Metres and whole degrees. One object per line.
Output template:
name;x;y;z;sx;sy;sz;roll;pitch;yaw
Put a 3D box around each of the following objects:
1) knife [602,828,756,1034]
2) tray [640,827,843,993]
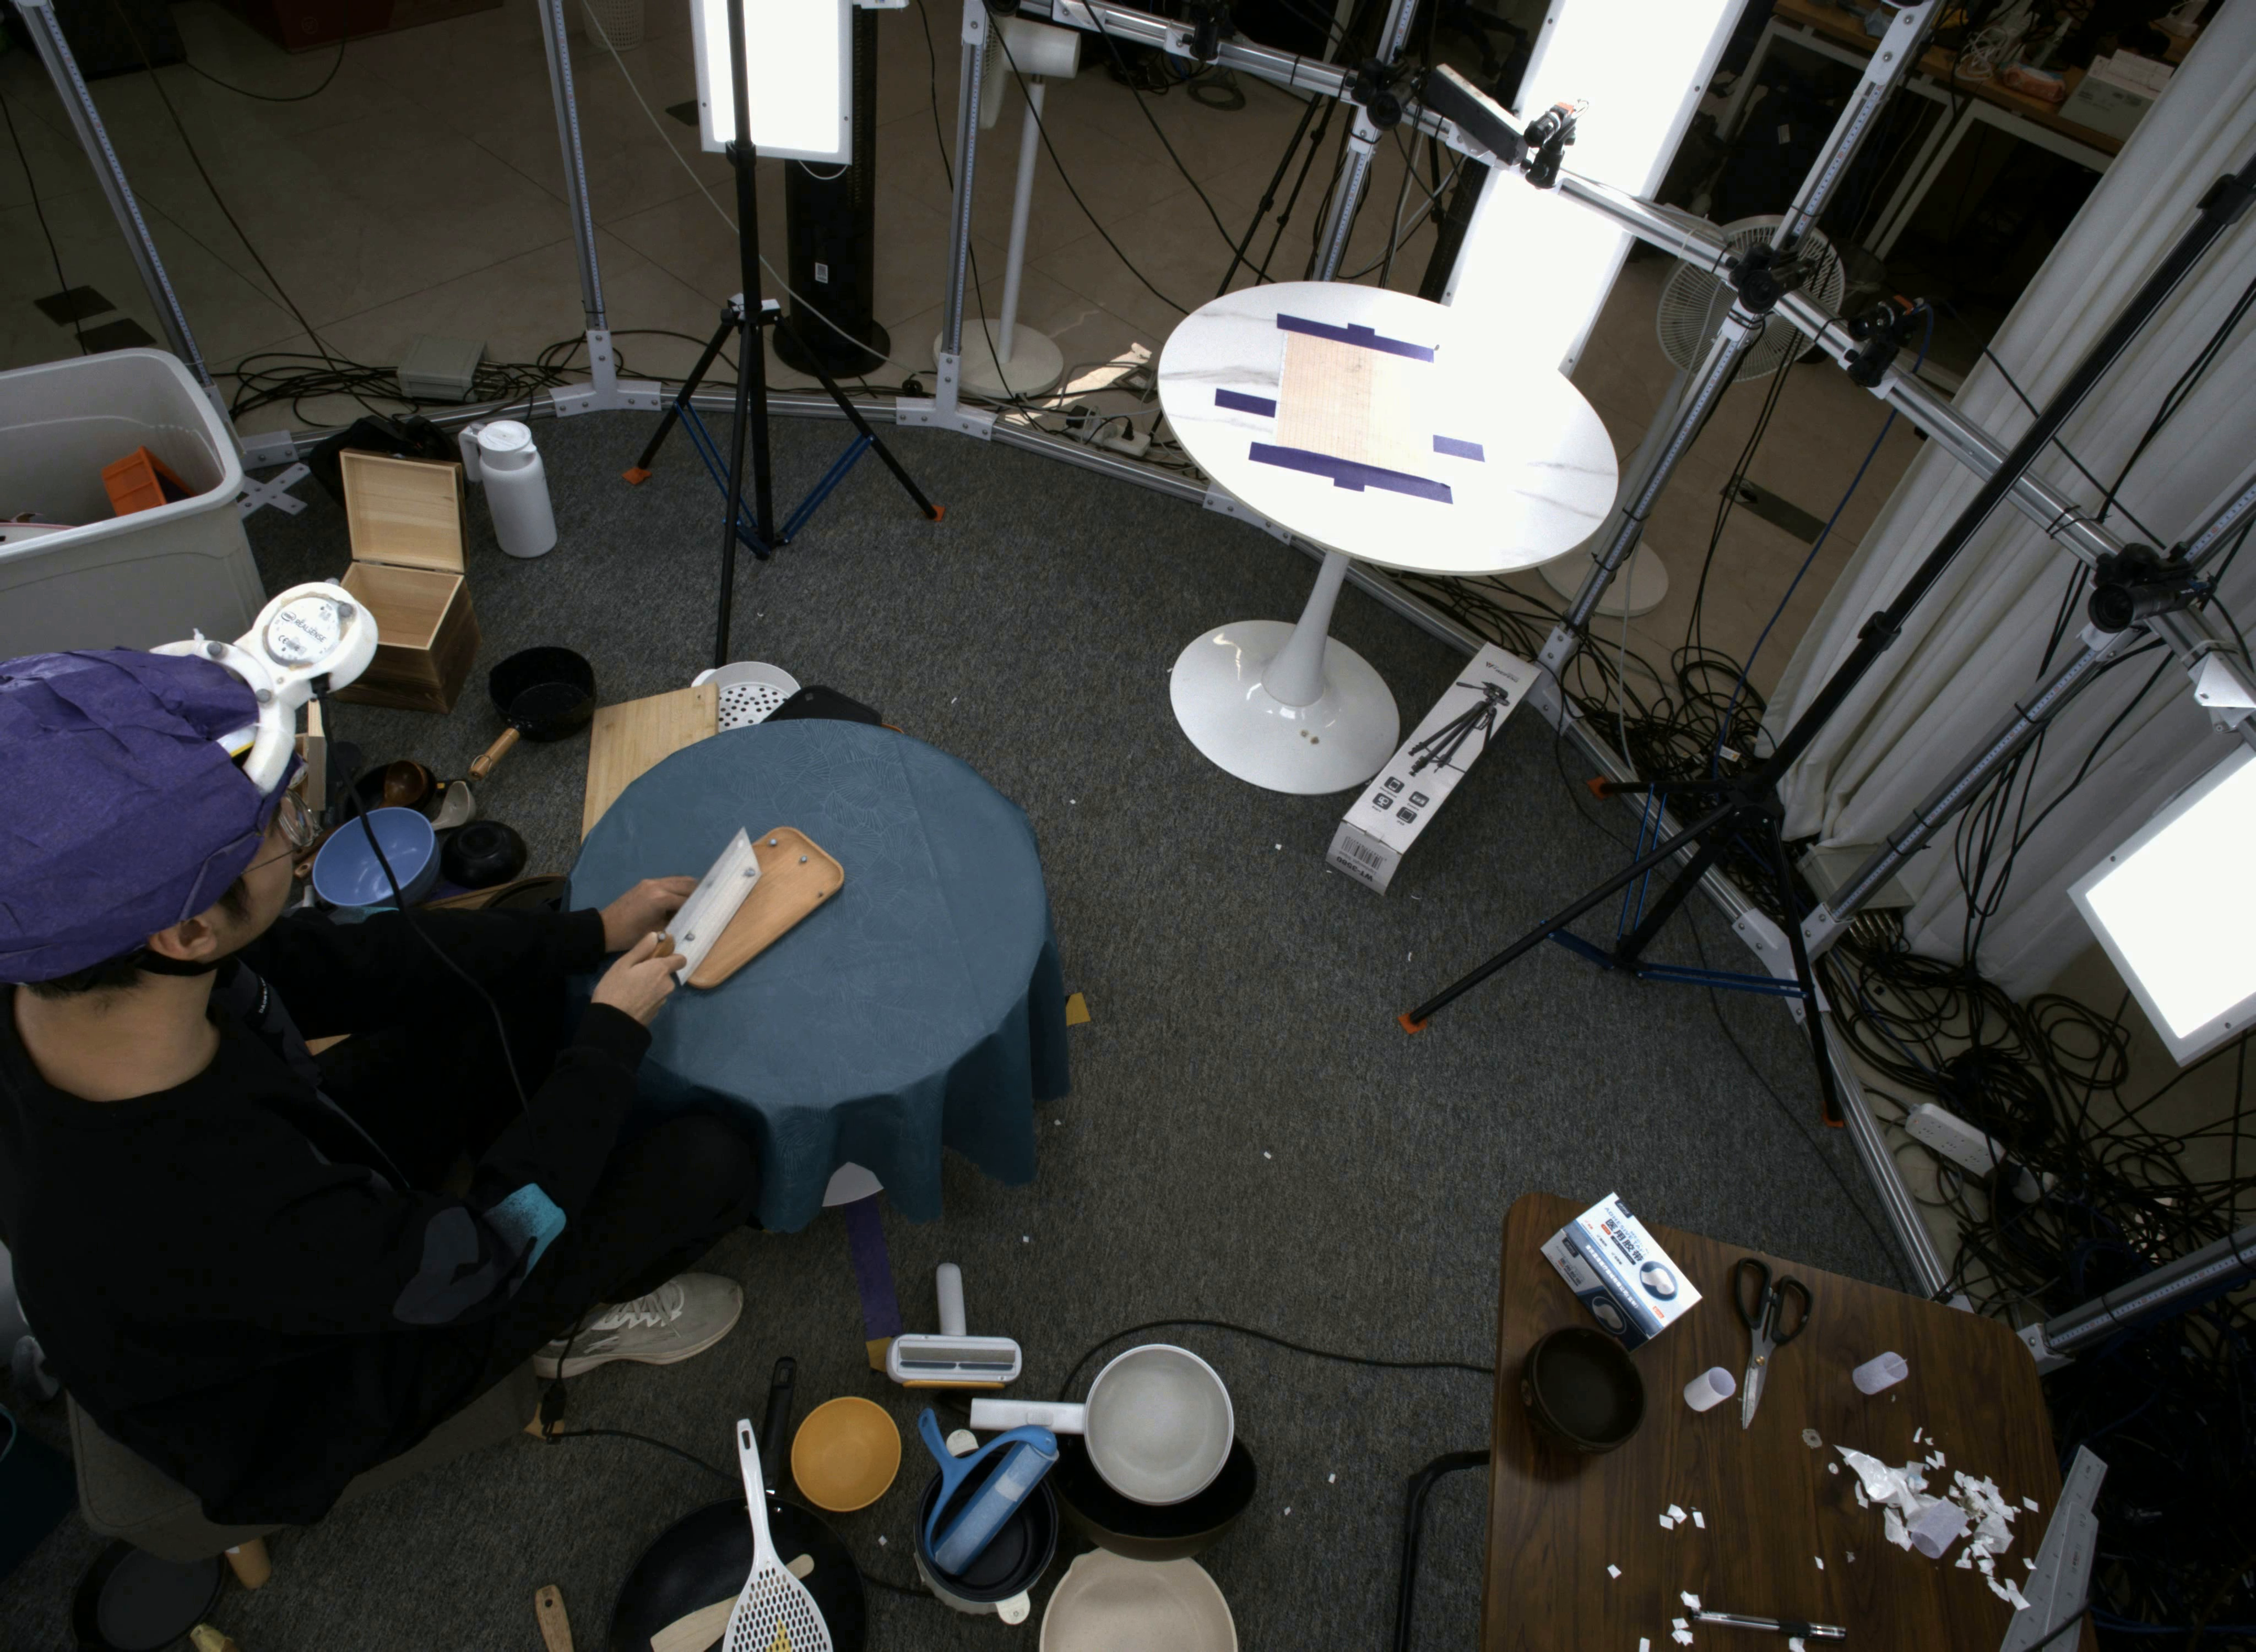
knife;-0.519;0.131;1.512;0.020;0.096;0.303;10;47;16
tray;-0.479;0.100;1.614;0.127;0.023;0.251;37;54;16
